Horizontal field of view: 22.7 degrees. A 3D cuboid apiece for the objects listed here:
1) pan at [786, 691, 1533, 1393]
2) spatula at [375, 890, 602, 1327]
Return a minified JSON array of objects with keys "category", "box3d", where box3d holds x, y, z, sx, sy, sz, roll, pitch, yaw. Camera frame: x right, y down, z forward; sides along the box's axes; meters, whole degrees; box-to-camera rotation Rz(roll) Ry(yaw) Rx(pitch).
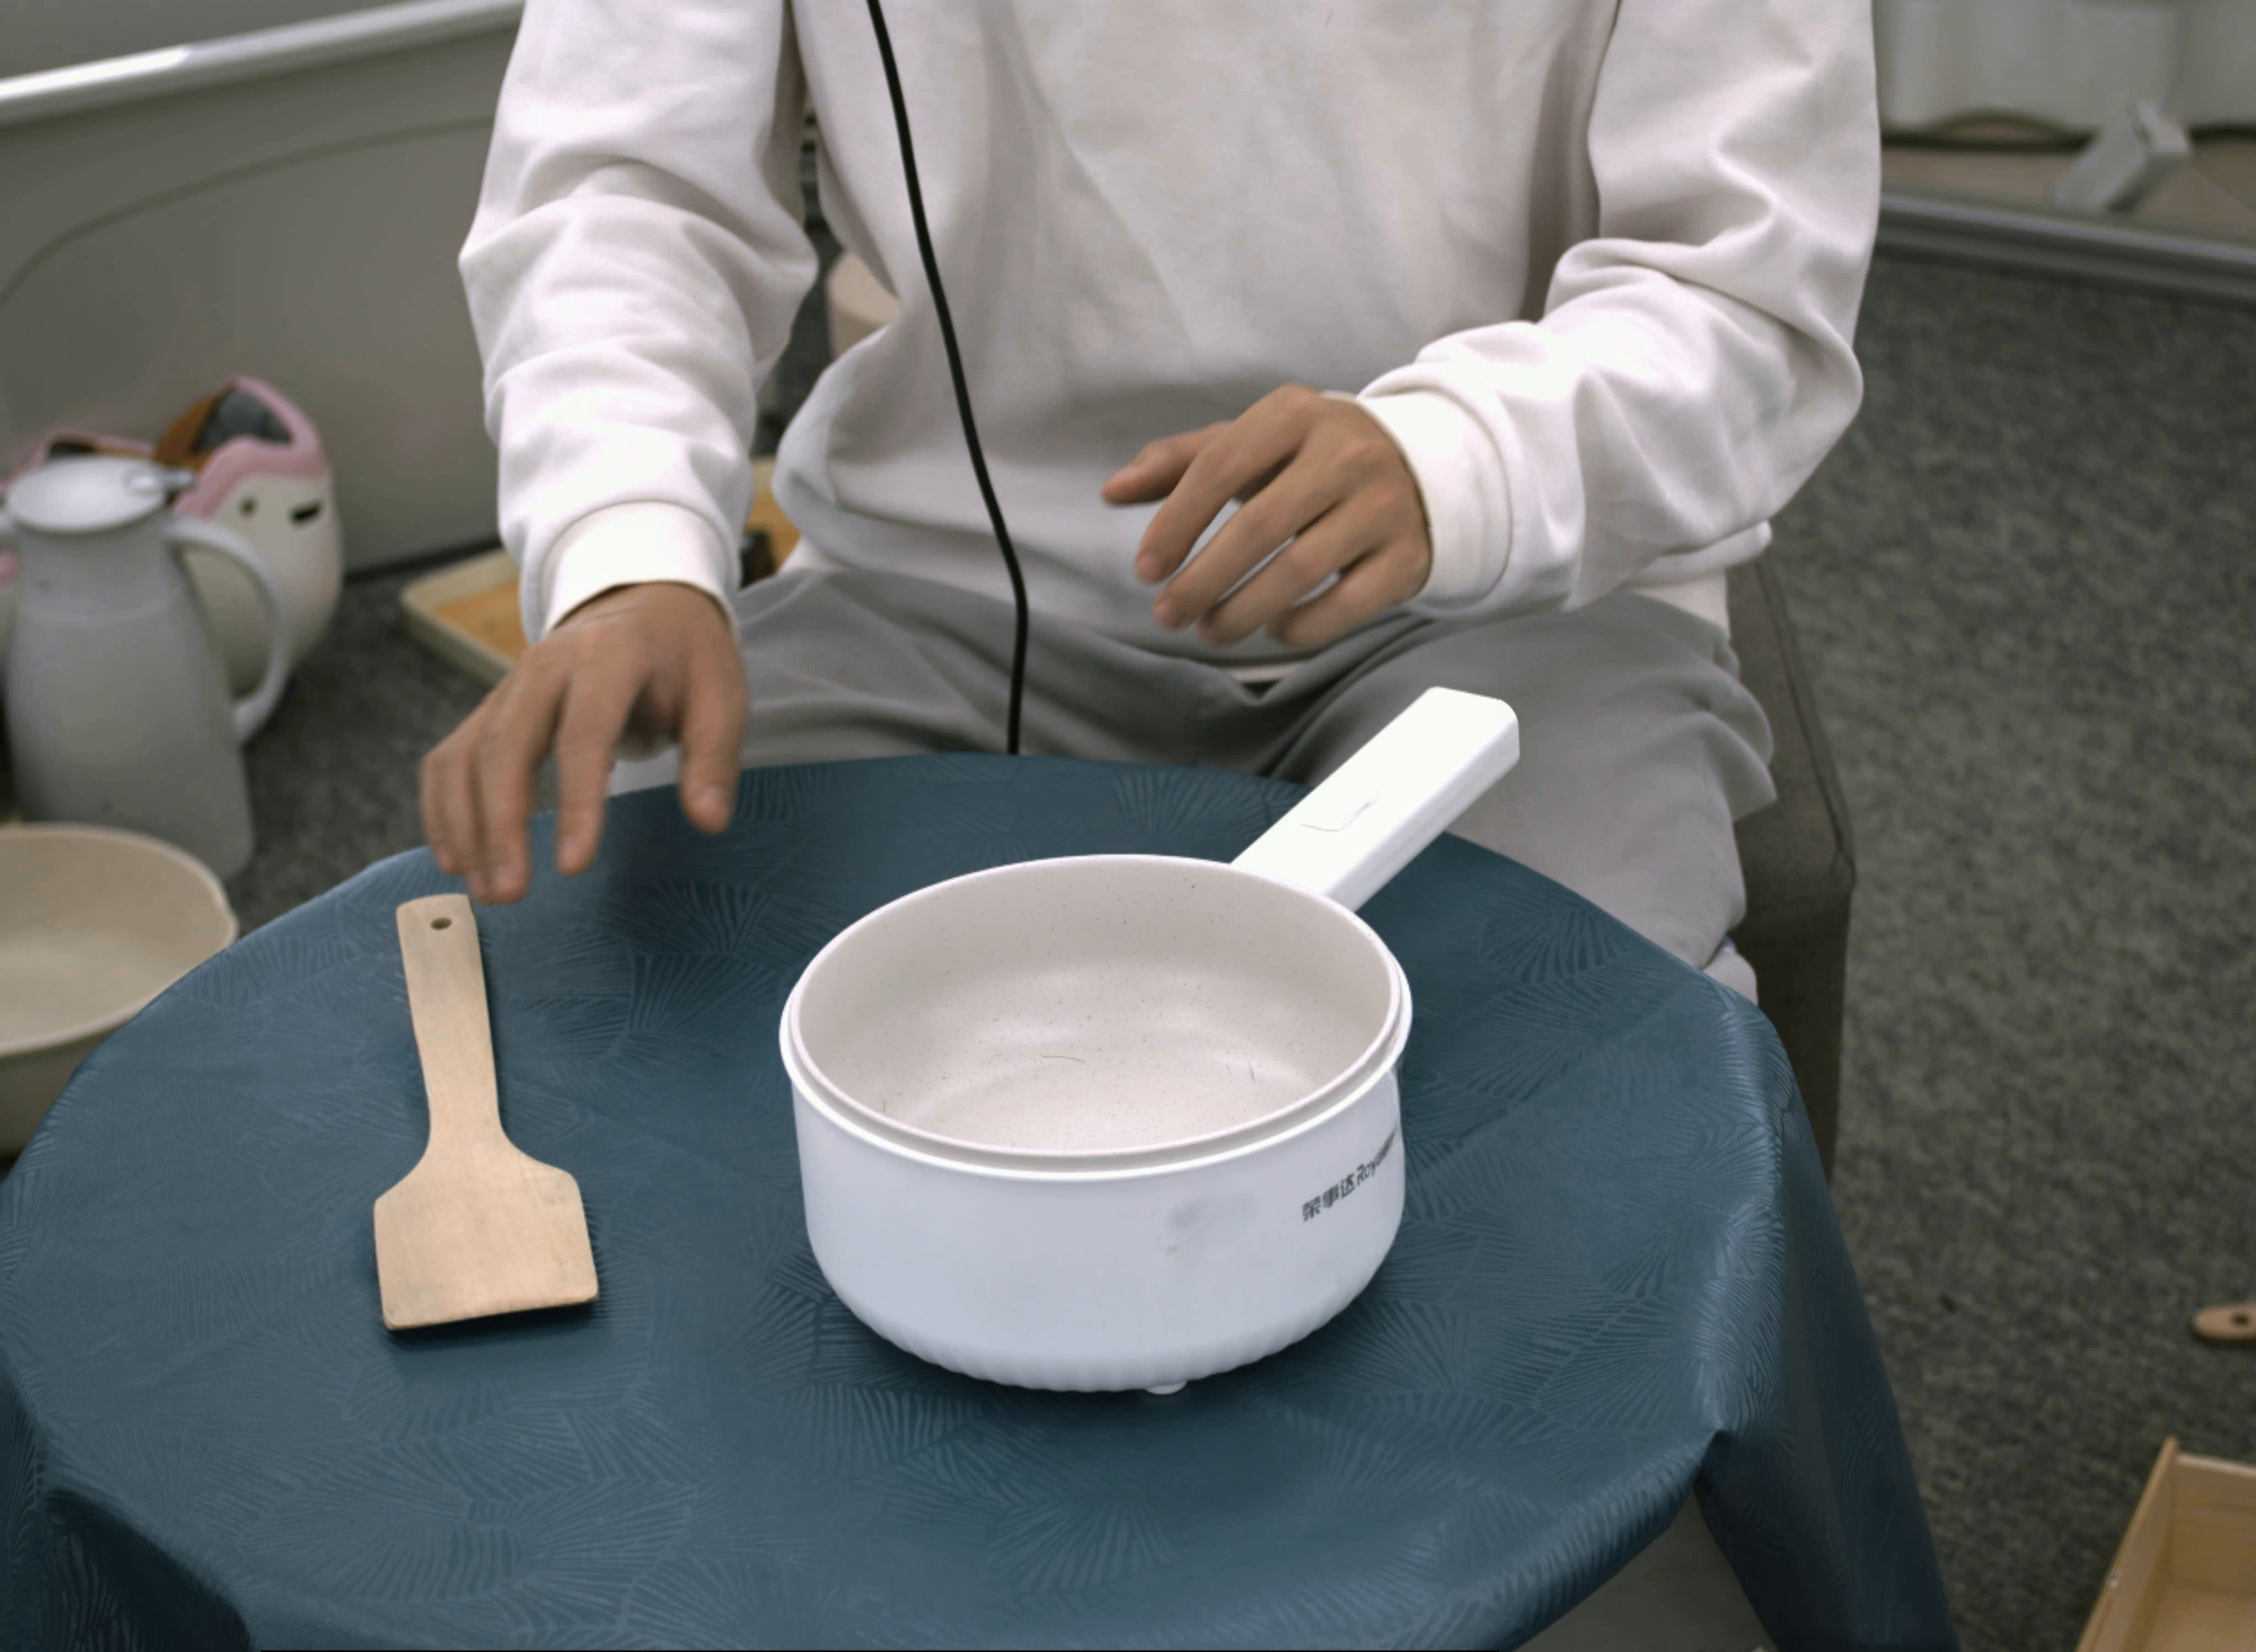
[{"category":"pan","box3d":[0.033,0.067,1.860,0.200,0.101,0.360,13,30,28]},{"category":"spatula","box3d":[-0.229,0.093,1.930,0.072,0.010,0.296,-8,28,-7]}]
